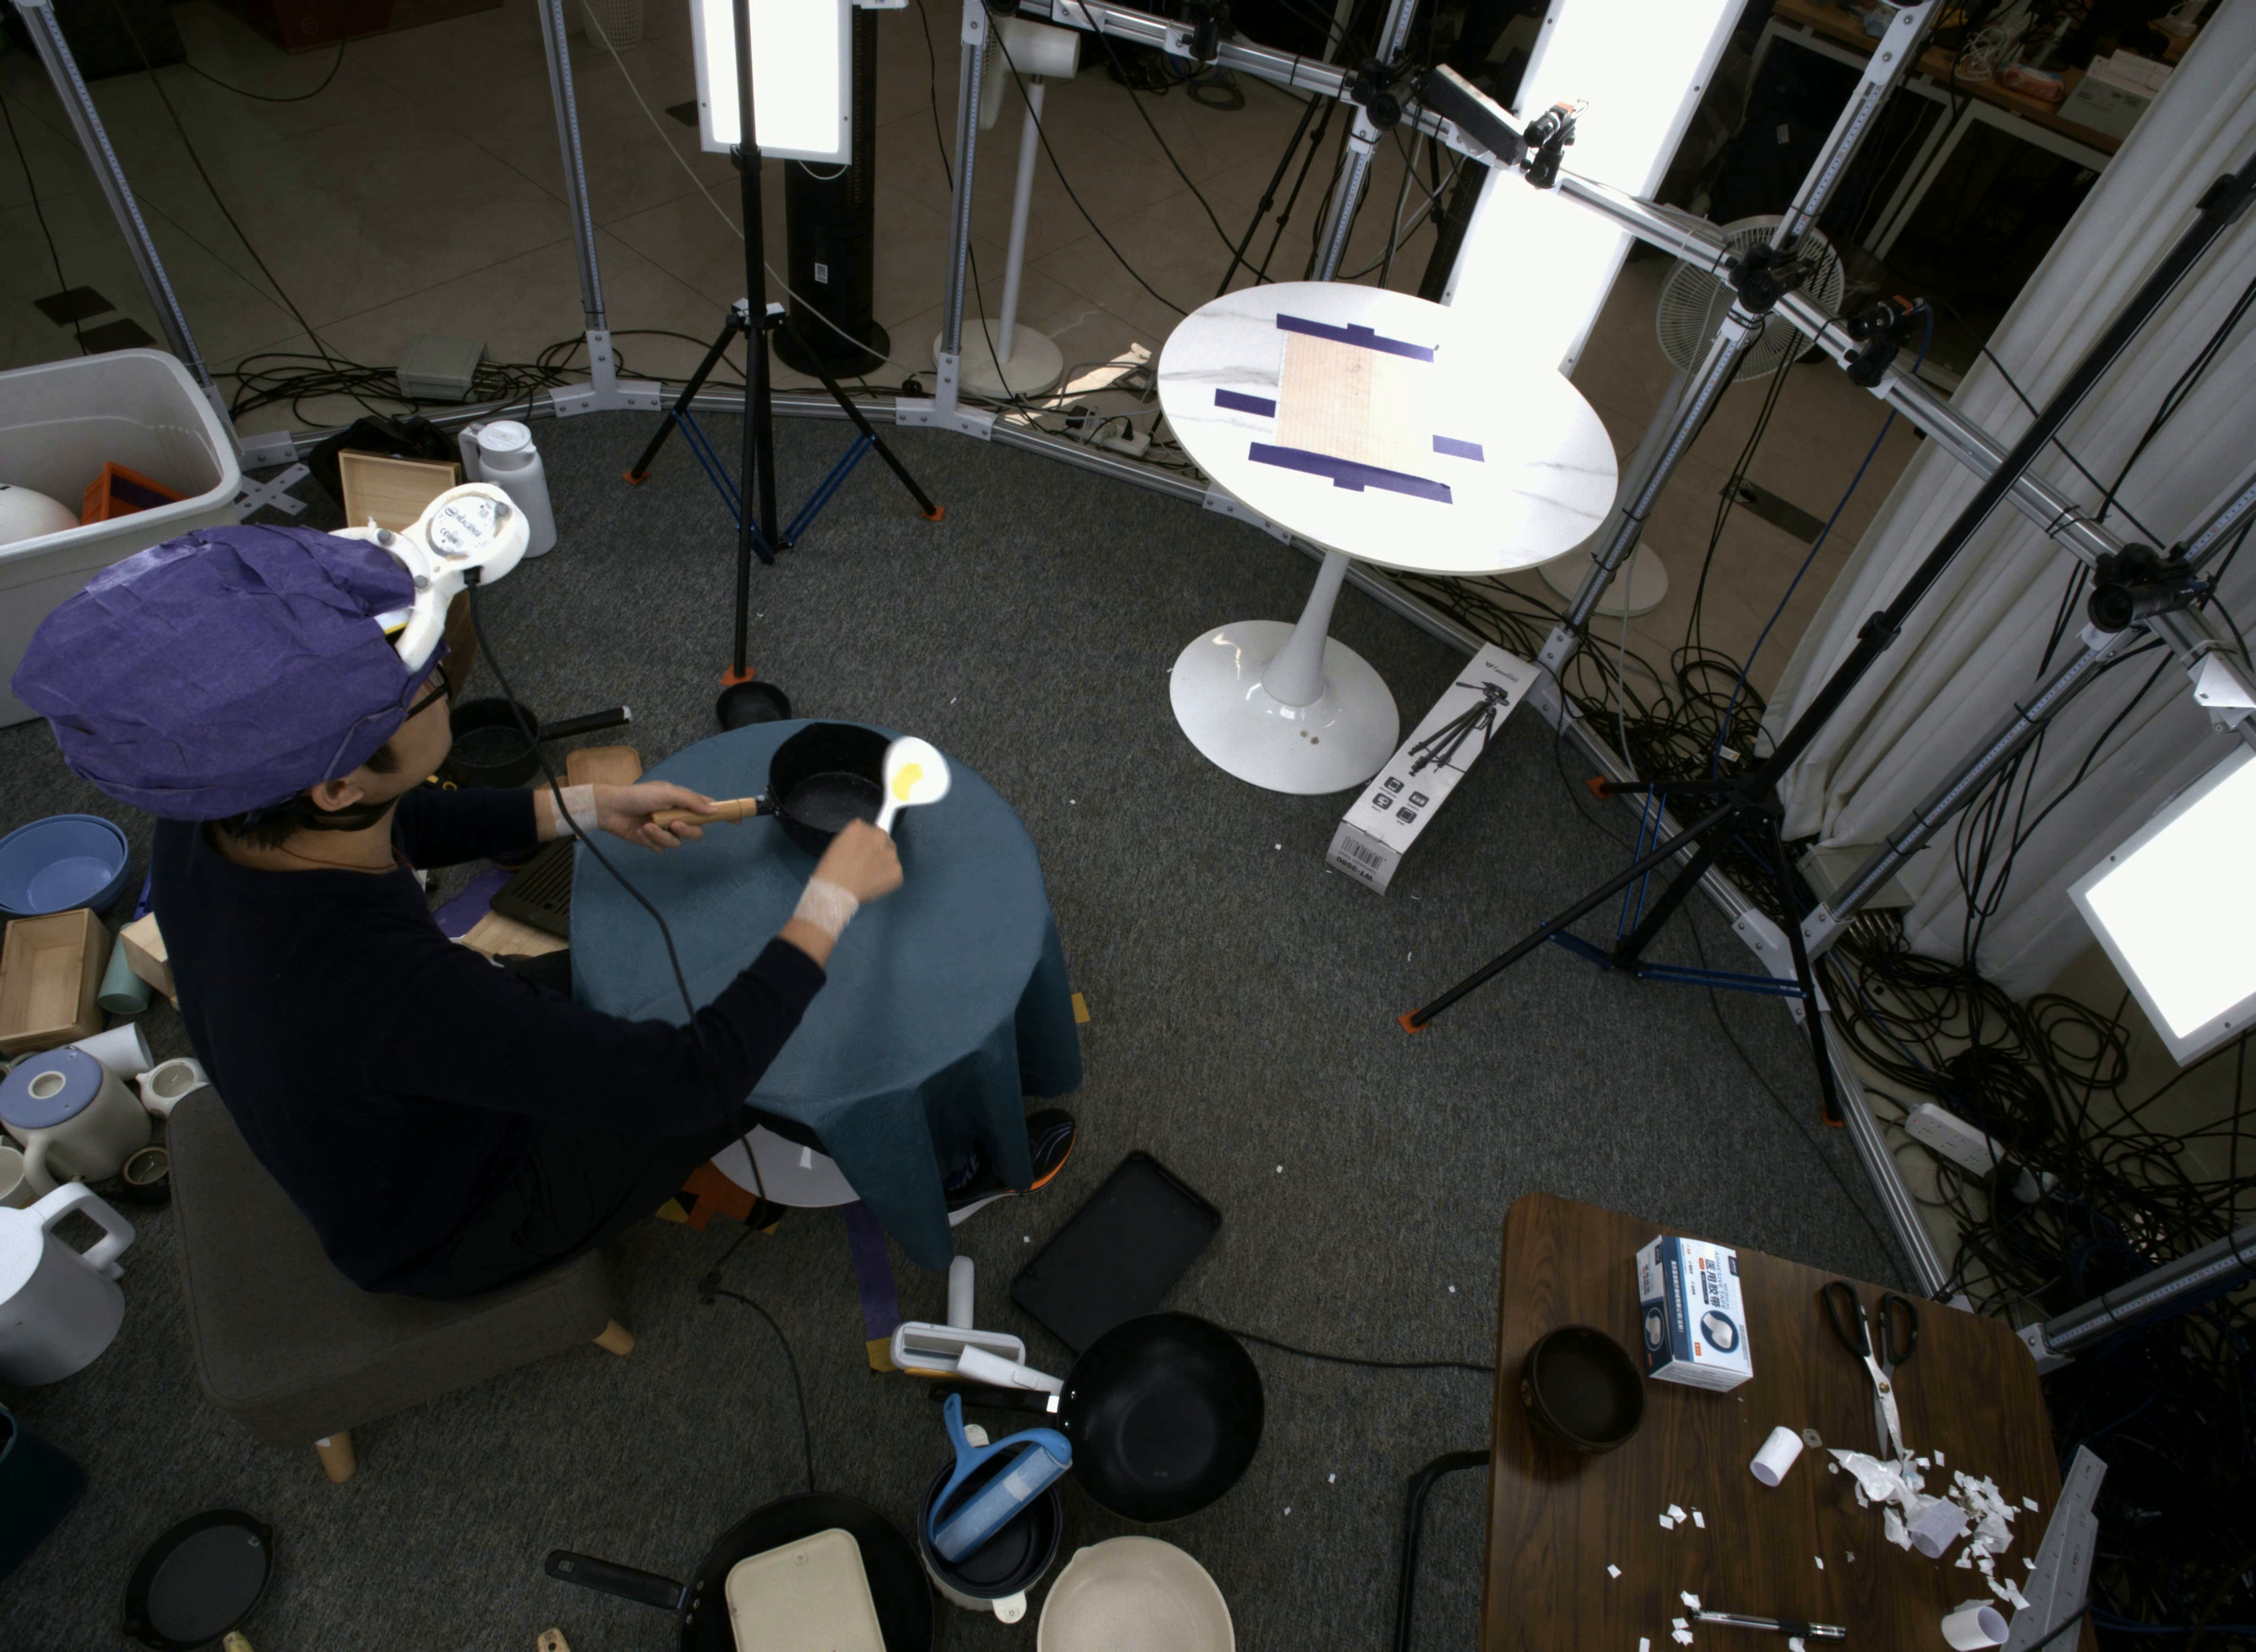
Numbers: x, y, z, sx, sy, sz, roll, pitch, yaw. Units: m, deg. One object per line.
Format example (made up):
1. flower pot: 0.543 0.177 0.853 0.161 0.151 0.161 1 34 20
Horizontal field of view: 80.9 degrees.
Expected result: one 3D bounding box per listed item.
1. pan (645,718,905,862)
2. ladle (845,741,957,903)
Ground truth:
1. pan: -0.443 -0.024 1.651 0.345 0.110 0.202 -19 61 -30
2. ladle: -0.269 -0.006 1.542 0.093 0.069 0.288 56 19 -21
